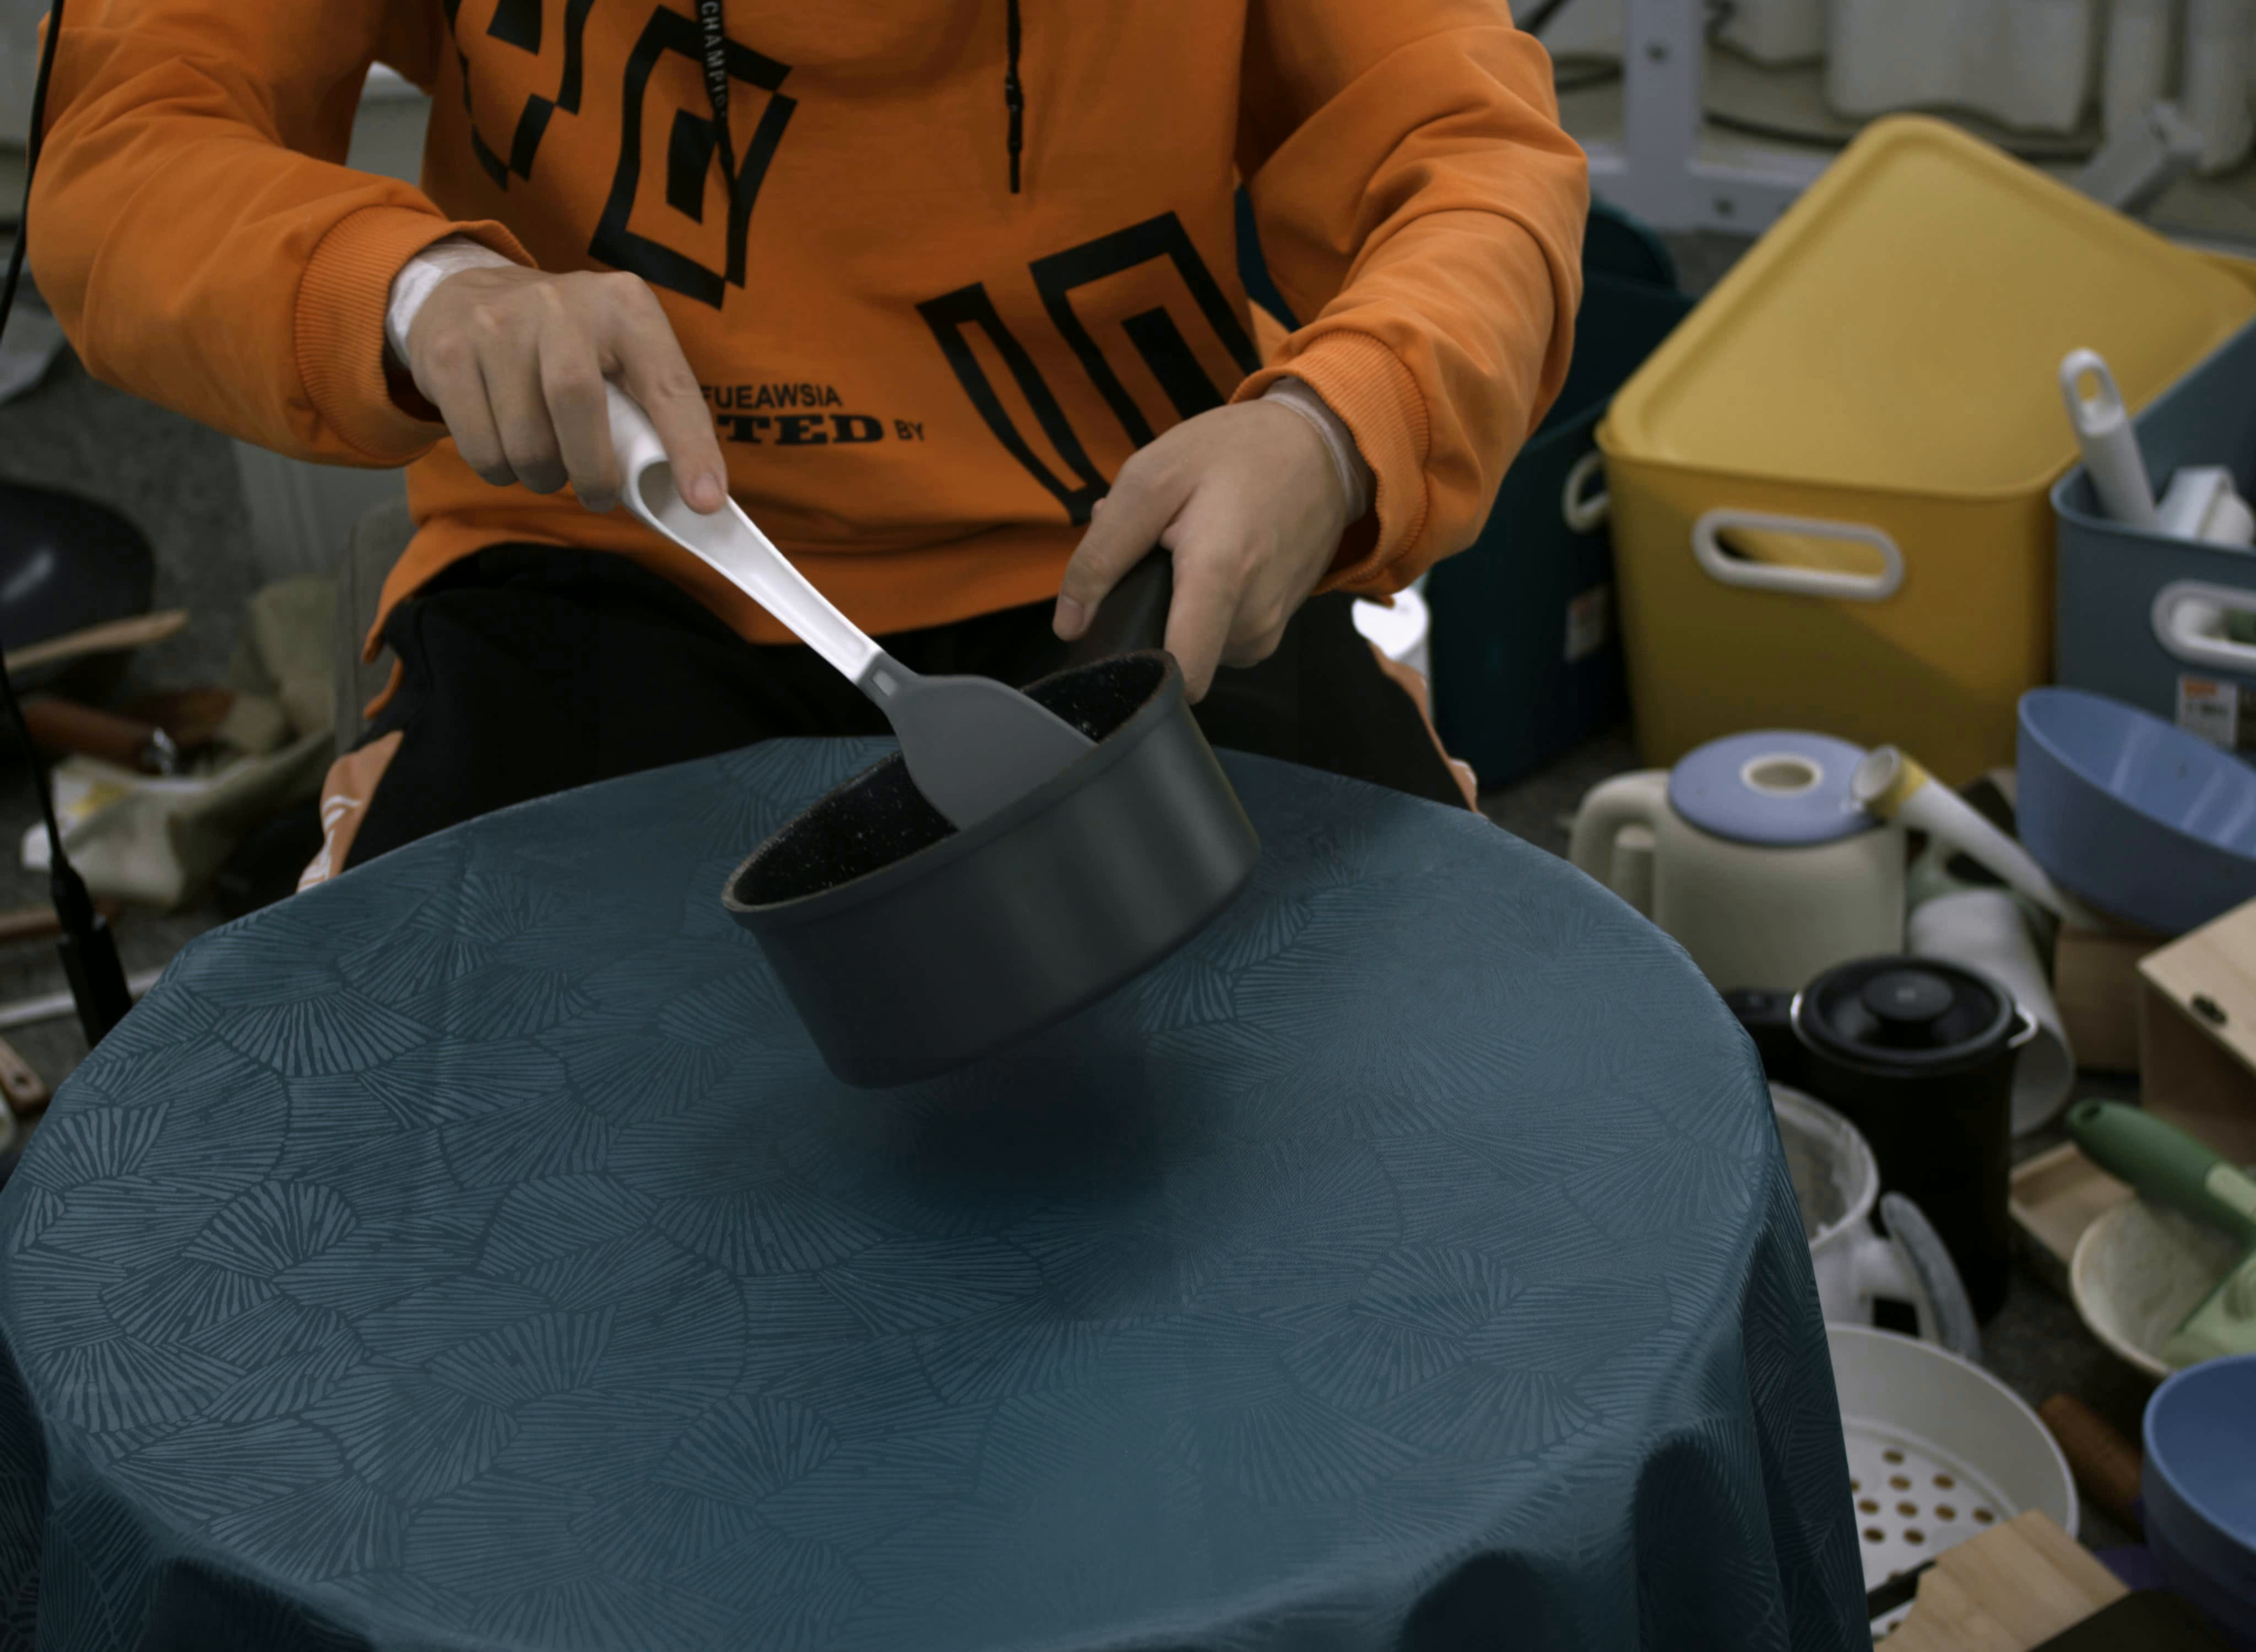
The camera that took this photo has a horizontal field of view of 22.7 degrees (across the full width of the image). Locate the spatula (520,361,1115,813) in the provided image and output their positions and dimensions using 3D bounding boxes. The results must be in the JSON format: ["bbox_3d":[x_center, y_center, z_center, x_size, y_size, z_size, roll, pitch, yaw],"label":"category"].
[{"bbox_3d":[-0.102,-0.075,1.918,0.288,0.058,0.032,37,3,29],"label":"spatula"}]

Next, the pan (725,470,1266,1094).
[{"bbox_3d":[-0.013,-0.020,1.935,0.169,0.086,0.334,-19,17,31],"label":"pan"}]
